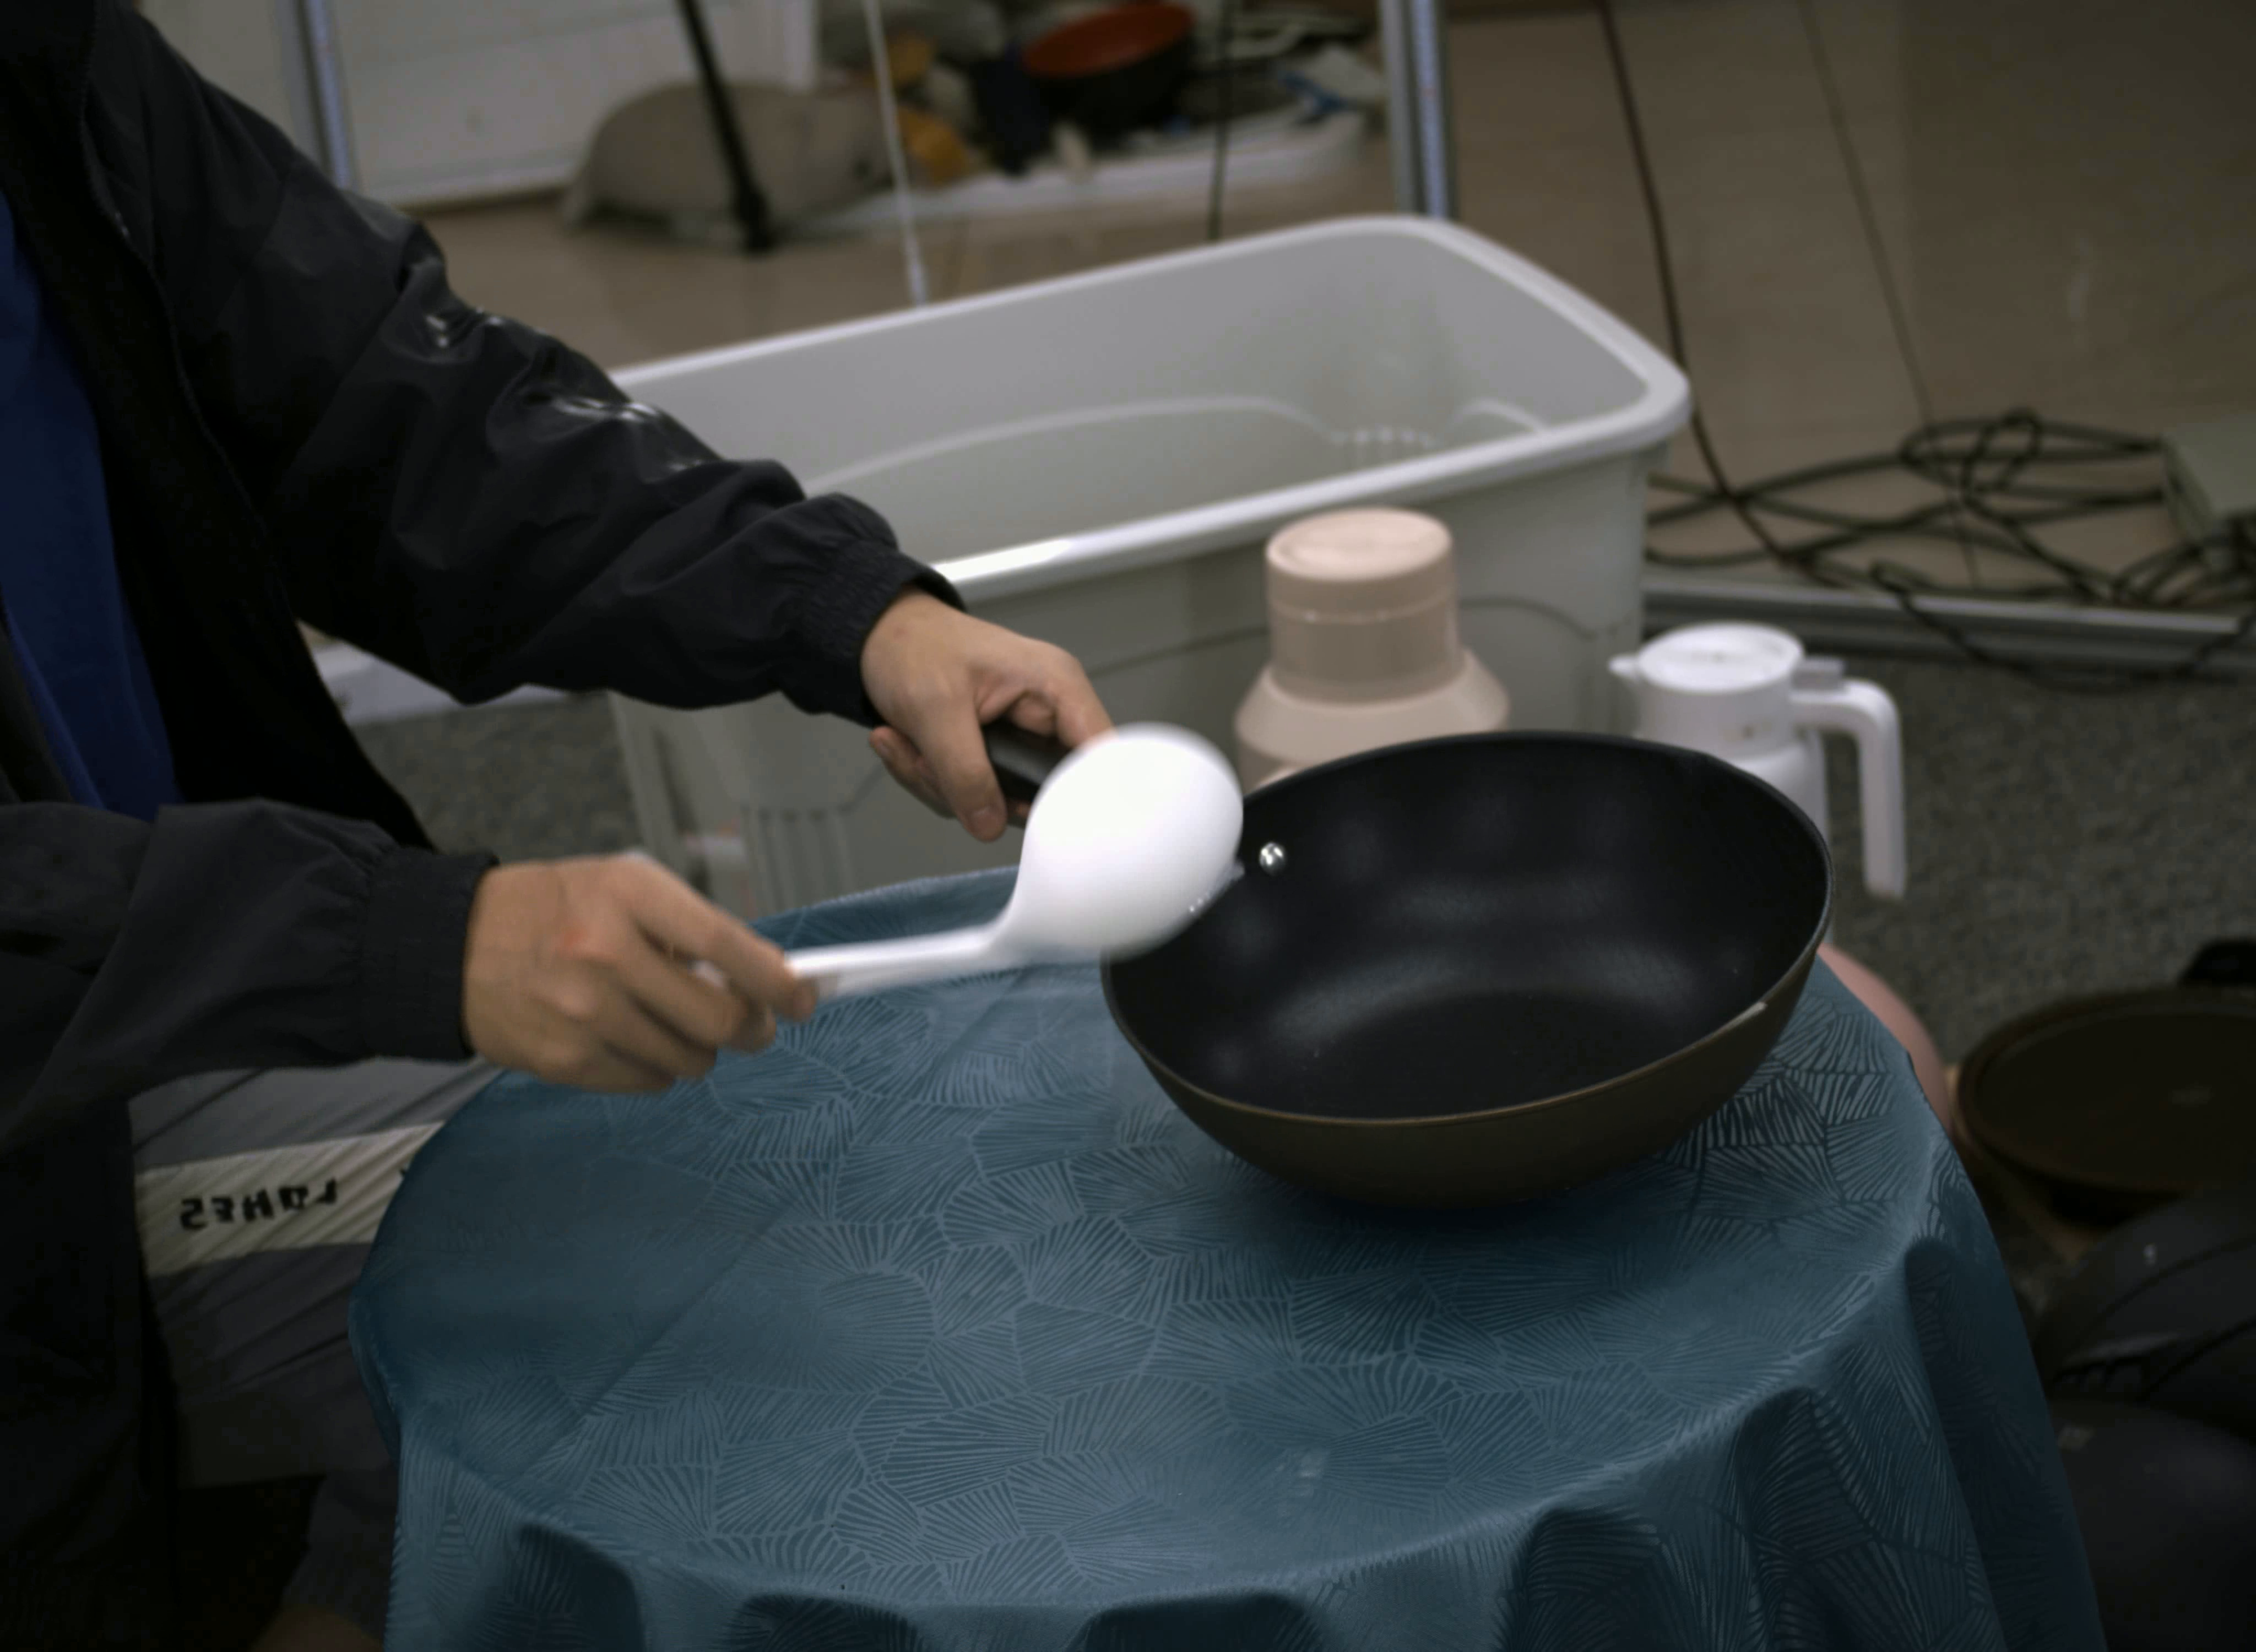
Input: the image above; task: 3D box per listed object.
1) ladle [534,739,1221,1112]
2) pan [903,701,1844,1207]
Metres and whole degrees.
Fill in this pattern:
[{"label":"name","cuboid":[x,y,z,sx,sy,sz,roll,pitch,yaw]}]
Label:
[{"label":"ladle","cuboid":[-0.096,0.039,2.029,0.294,0.091,0.069,-17,60,35]},{"label":"pan","cuboid":[0.071,0.044,2.215,0.285,0.088,0.459,-31,35,-34]}]
